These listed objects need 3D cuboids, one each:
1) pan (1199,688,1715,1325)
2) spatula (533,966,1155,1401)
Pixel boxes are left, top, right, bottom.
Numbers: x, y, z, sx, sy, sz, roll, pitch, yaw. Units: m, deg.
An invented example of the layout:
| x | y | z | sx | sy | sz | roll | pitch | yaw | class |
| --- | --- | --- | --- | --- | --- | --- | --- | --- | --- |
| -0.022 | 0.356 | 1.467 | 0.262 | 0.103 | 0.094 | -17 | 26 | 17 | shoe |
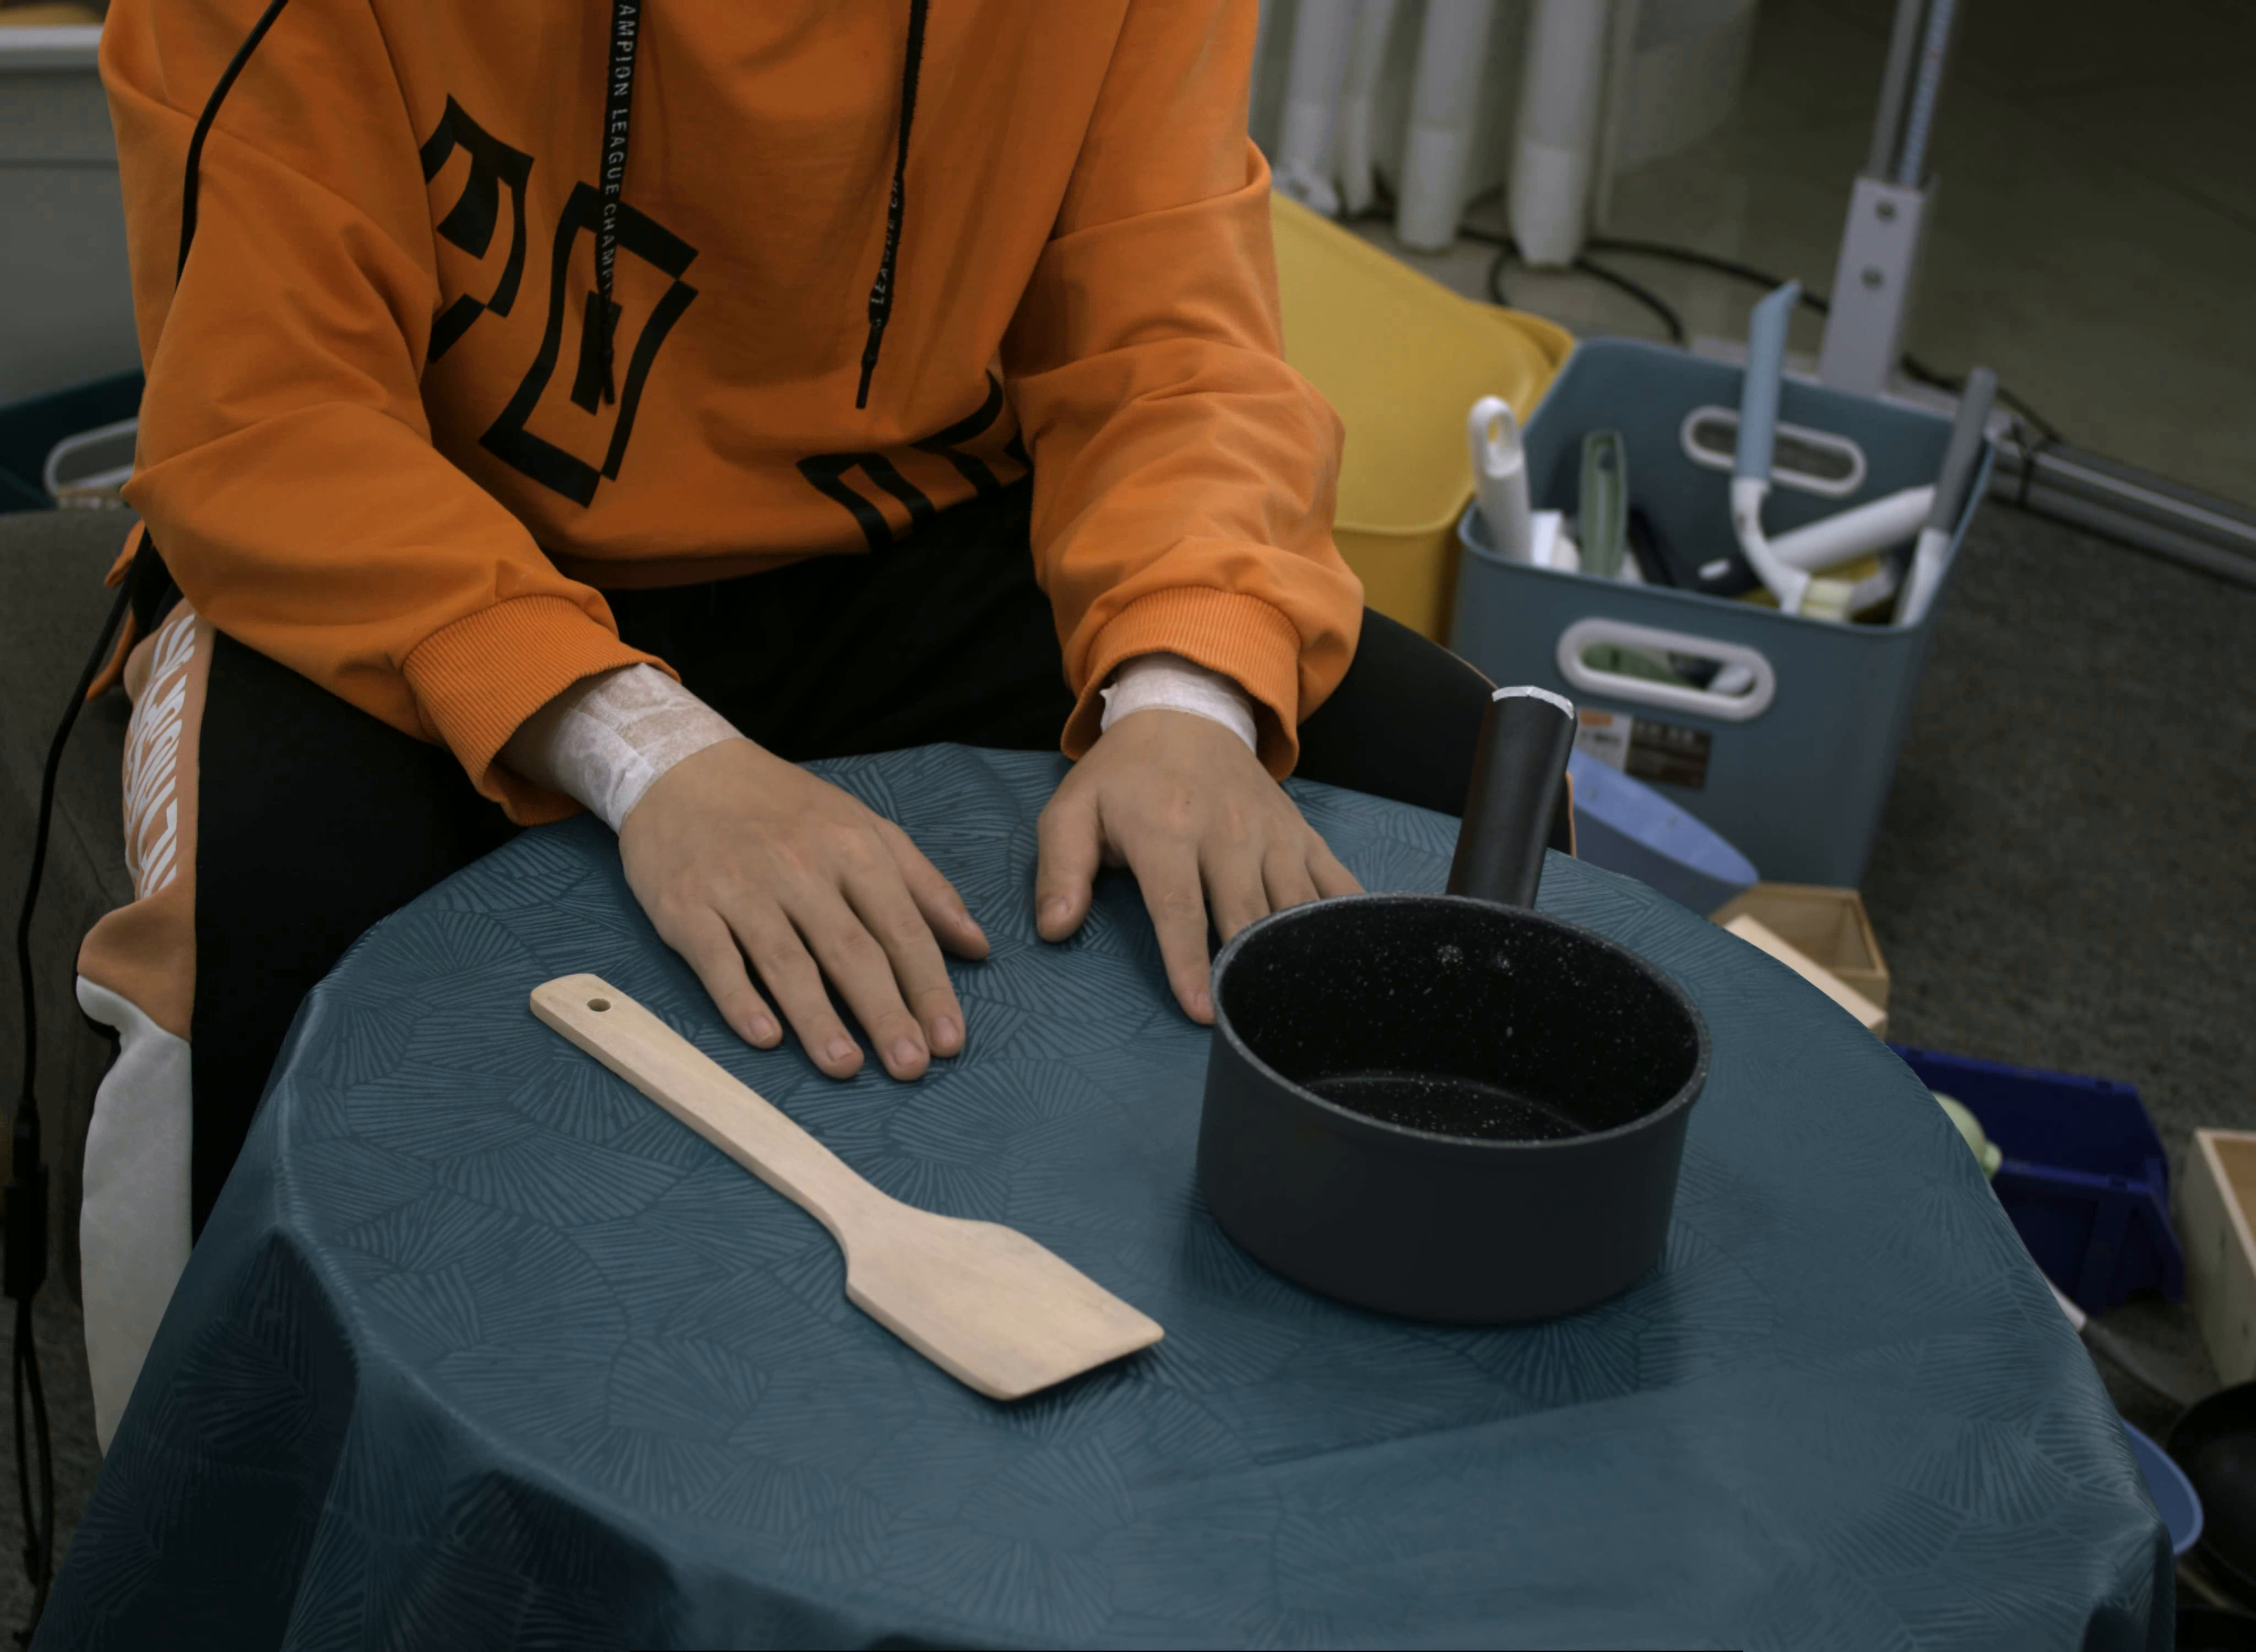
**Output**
| x | y | z | sx | sy | sz | roll | pitch | yaw | class |
| --- | --- | --- | --- | --- | --- | --- | --- | --- | --- |
| 0.124 | 0.058 | 1.867 | 0.172 | 0.086 | 0.330 | 12 | 29 | 8 | pan |
| -0.110 | 0.114 | 1.786 | 0.072 | 0.010 | 0.295 | -20 | 37 | -36 | spatula |
